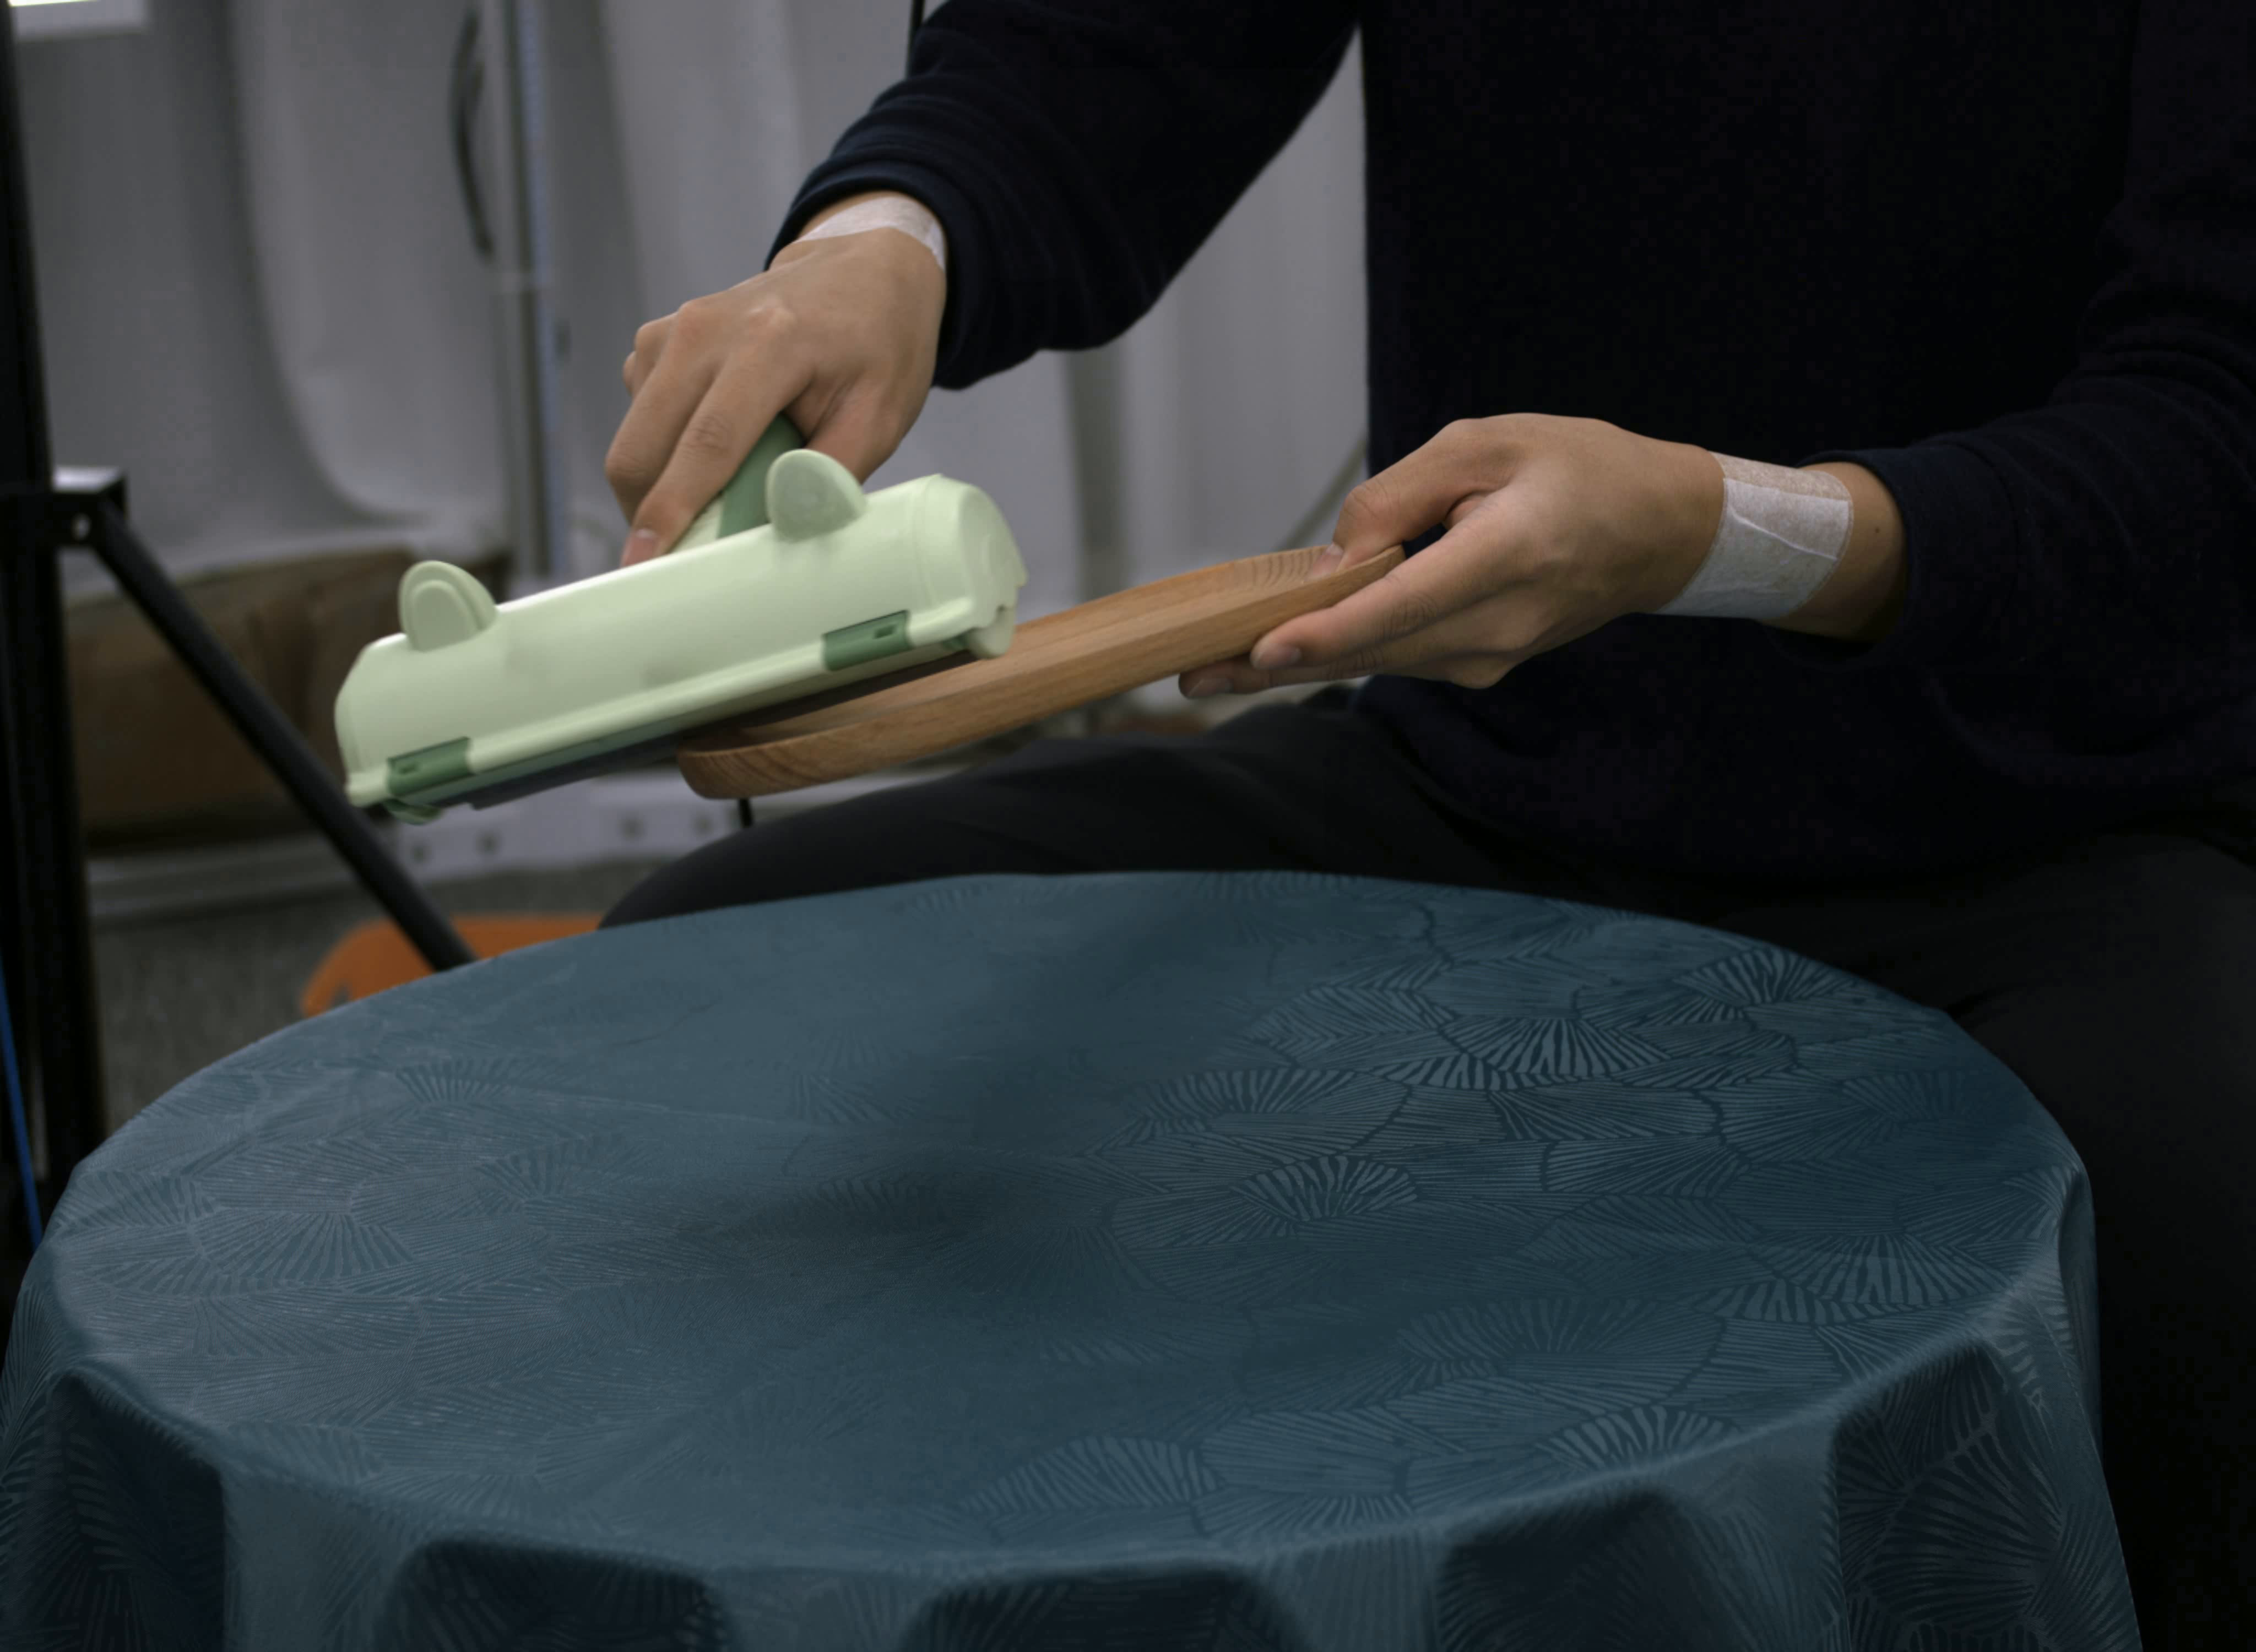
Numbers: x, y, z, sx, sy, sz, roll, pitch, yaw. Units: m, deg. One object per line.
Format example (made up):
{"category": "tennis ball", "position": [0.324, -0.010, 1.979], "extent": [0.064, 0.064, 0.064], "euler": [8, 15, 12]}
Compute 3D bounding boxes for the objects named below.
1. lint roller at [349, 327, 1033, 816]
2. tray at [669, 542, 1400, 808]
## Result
{"category": "lint roller", "position": [-0.125, -0.097, 1.525], "extent": [0.200, 0.080, 0.185], "euler": [-16, 45, 19]}
{"category": "tray", "position": [-0.023, -0.043, 1.504], "extent": [0.227, 0.020, 0.103], "euler": [-21, 10, -29]}
